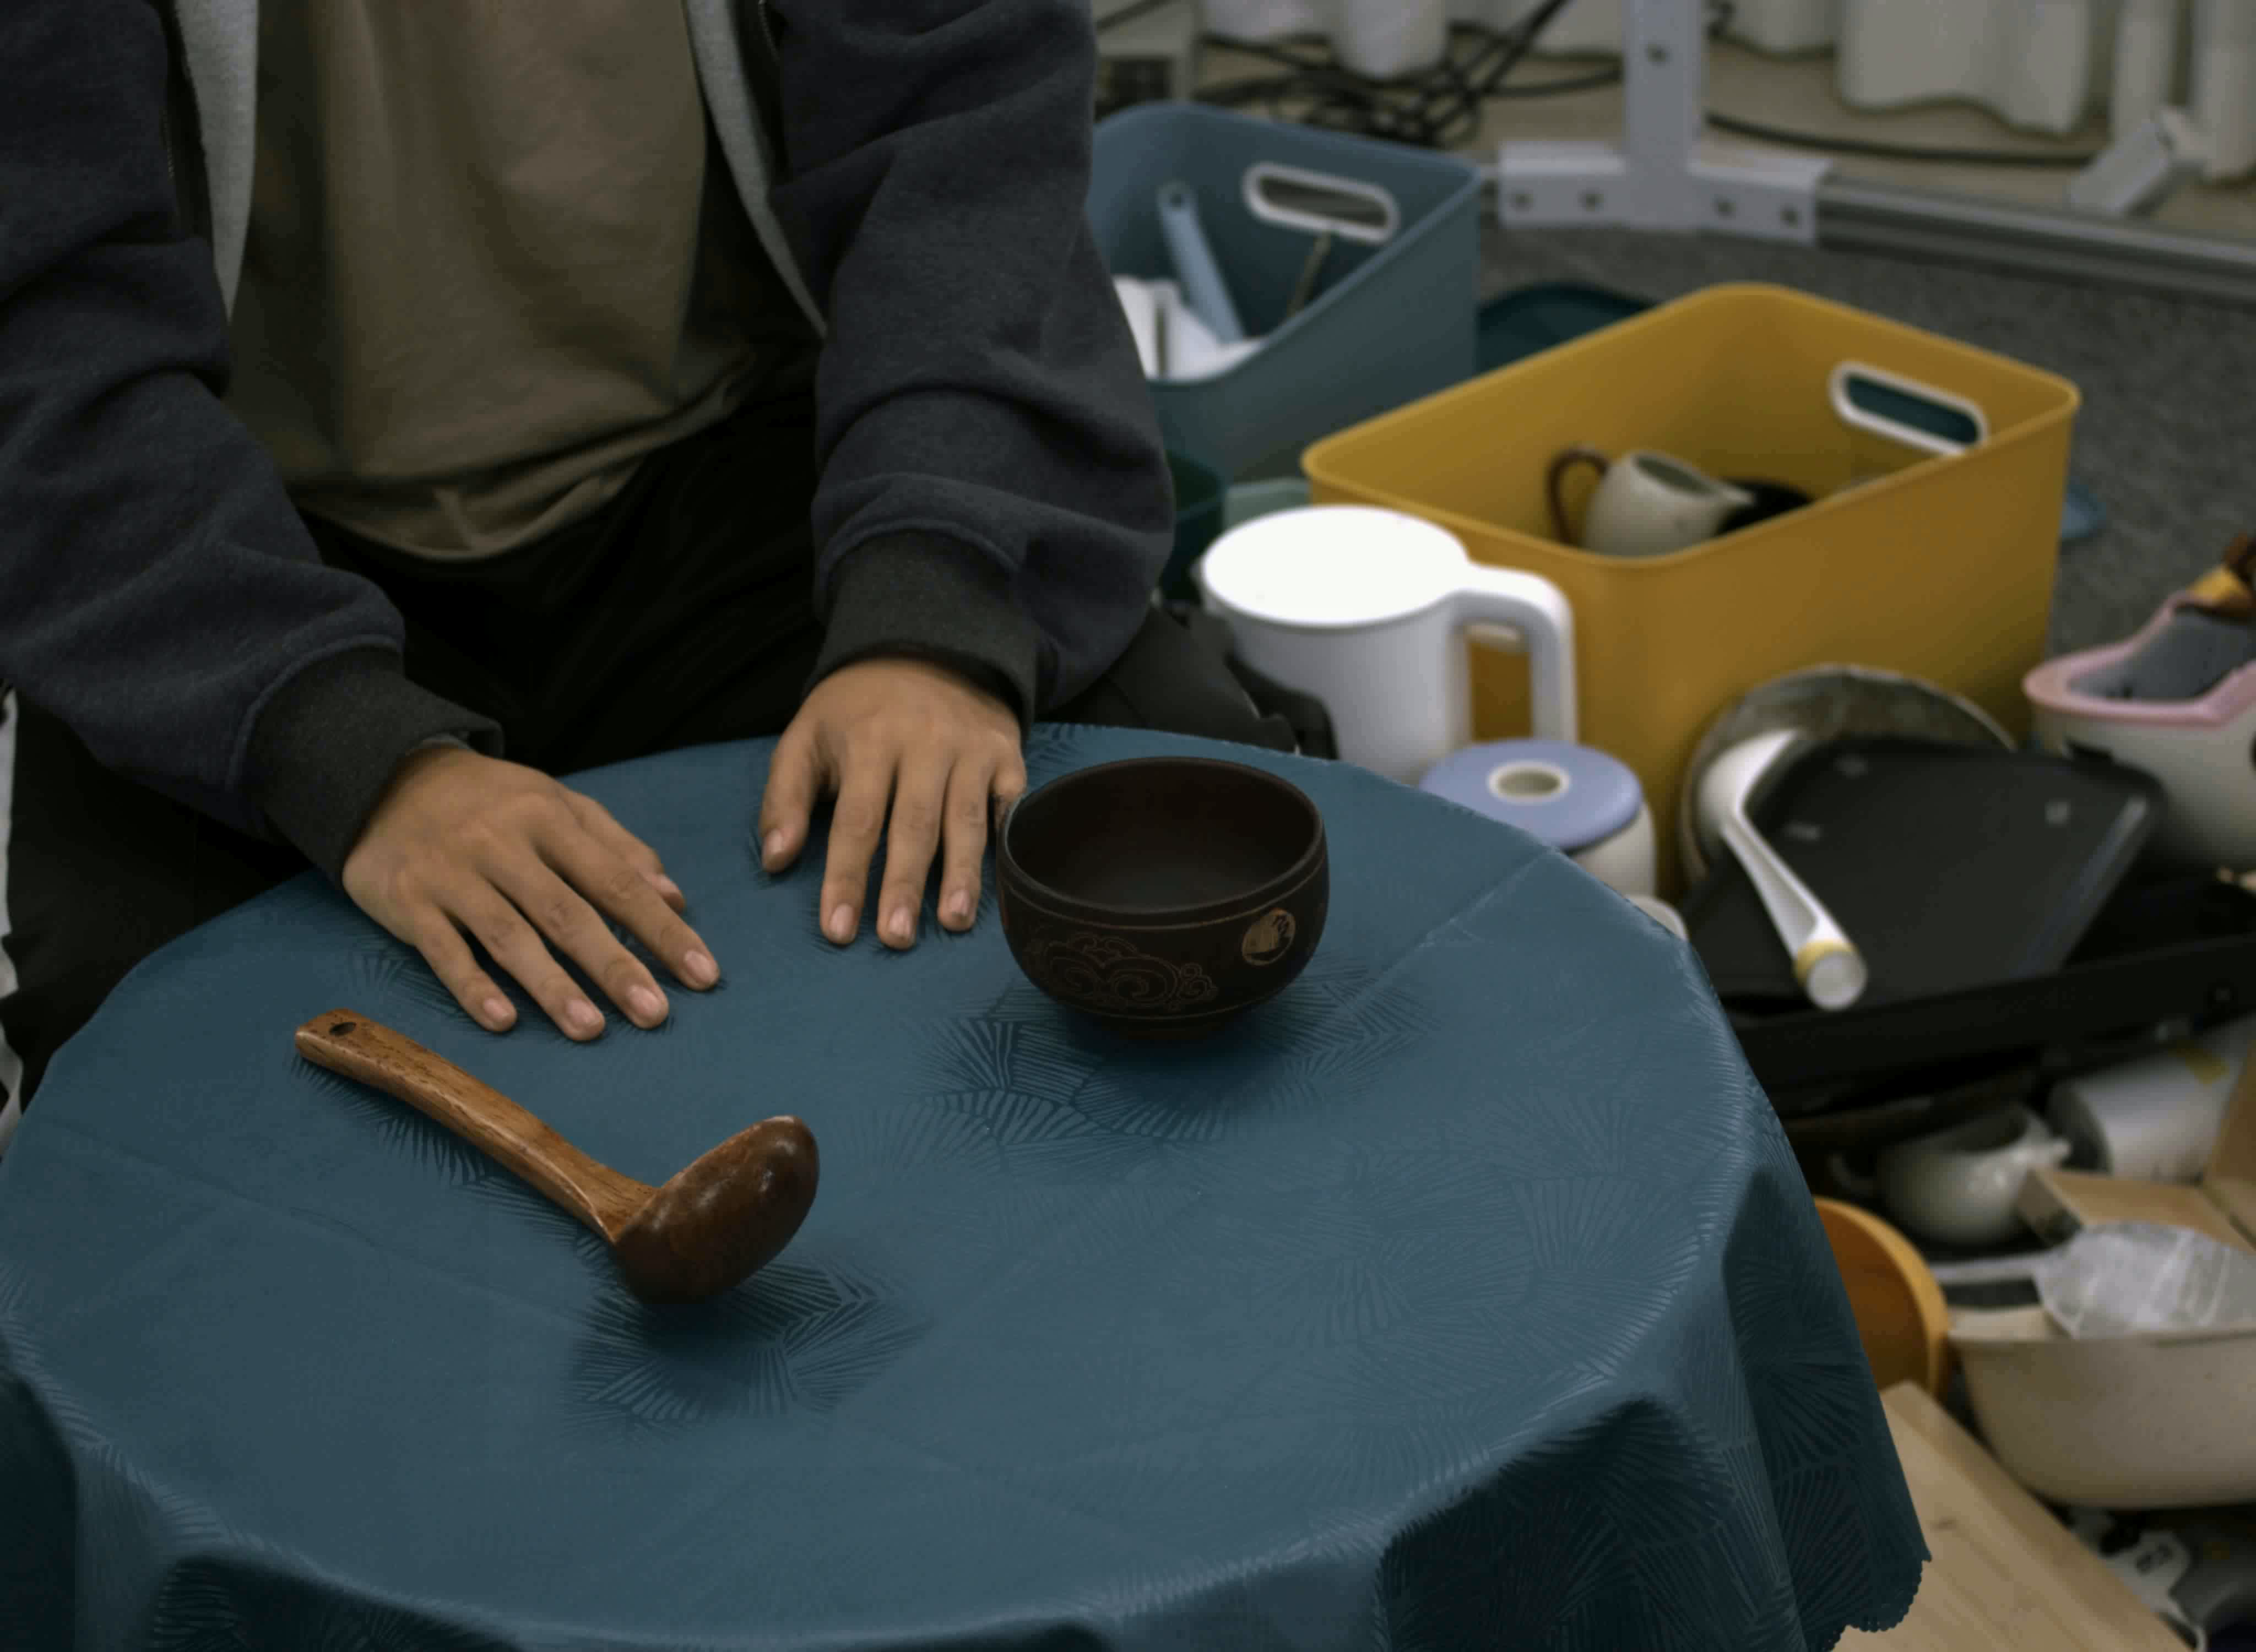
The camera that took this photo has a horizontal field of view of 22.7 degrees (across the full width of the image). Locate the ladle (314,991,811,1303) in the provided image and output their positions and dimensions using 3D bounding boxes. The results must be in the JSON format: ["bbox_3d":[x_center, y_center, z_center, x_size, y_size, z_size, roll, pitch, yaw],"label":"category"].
[{"bbox_3d":[-0.202,0.087,1.865,0.083,0.076,0.274,-26,36,-30],"label":"ladle"}]

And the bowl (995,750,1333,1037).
[{"bbox_3d":[0.013,0.030,1.958,0.117,0.069,0.120,-3,27,2],"label":"bowl"}]
